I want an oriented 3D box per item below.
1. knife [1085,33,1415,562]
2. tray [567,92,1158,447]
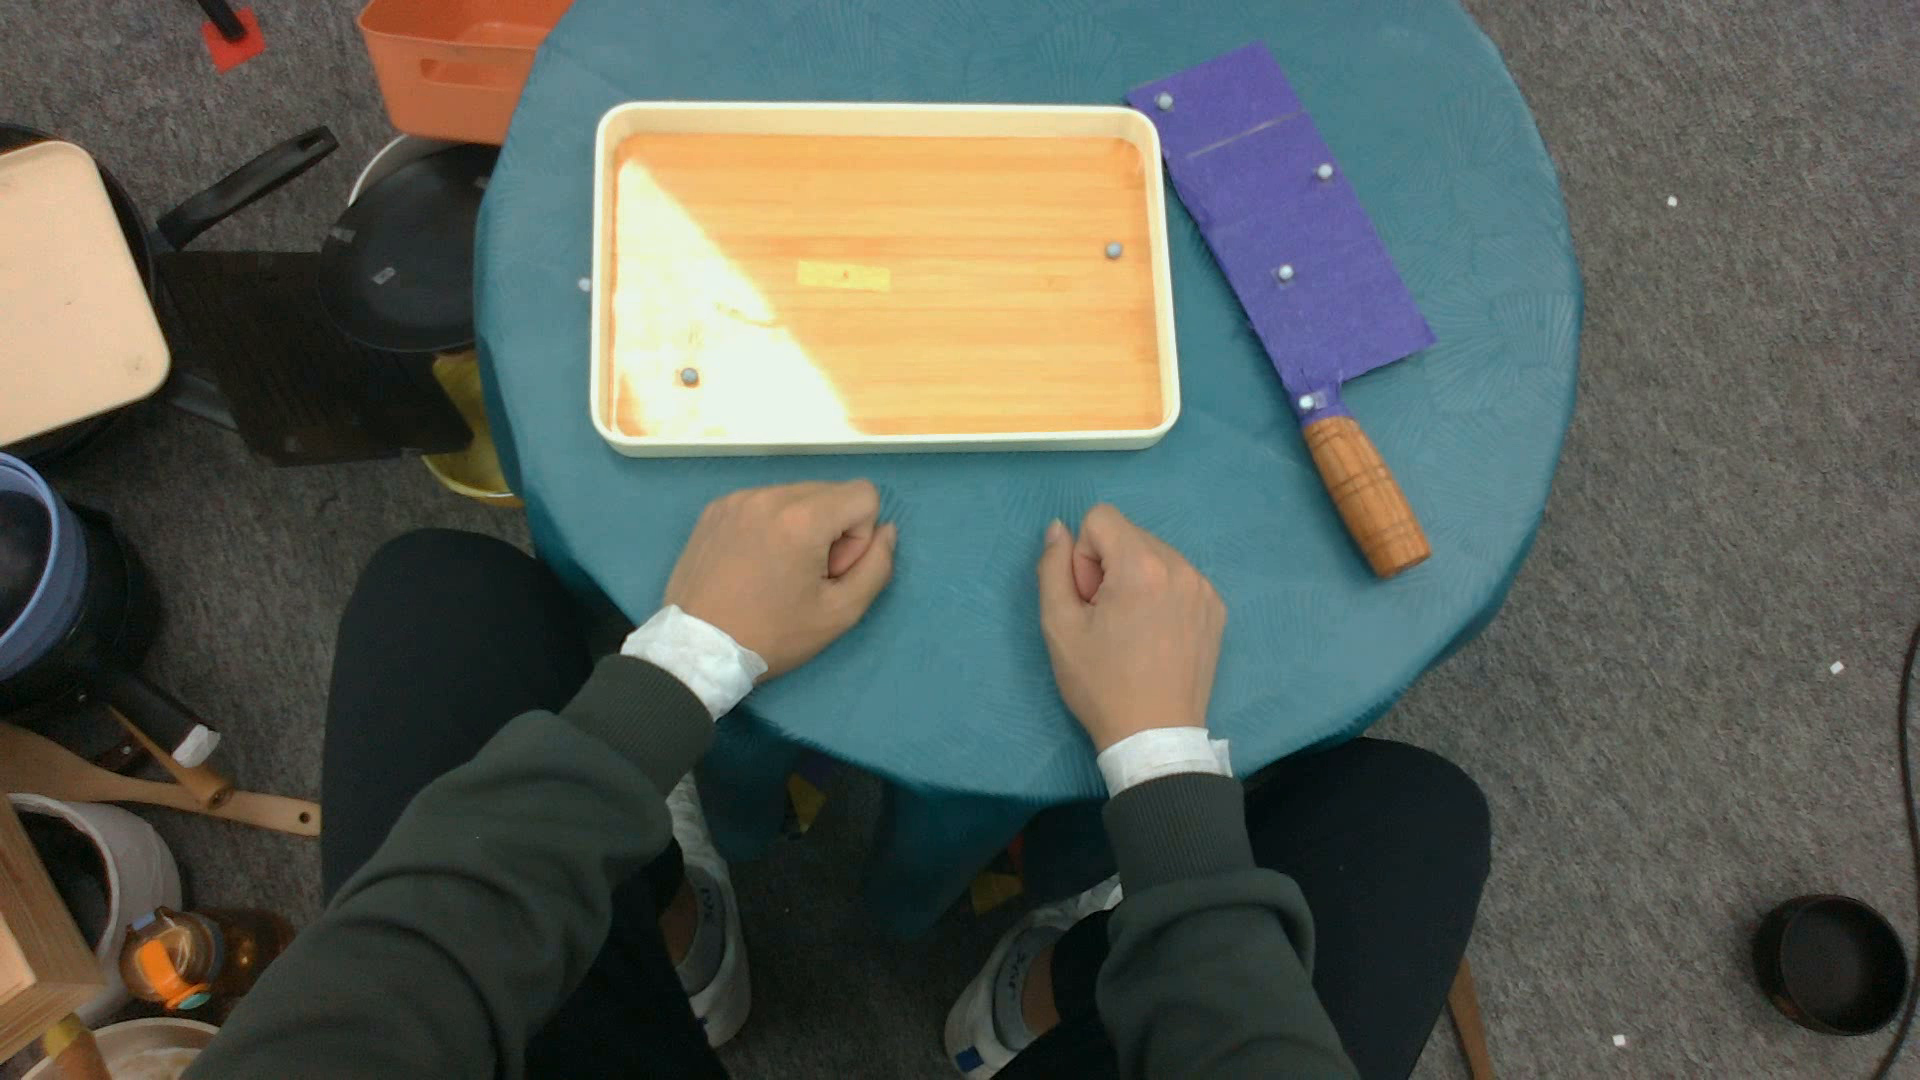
[{"bbox_3d":[0.182,-0.144,0.749,0.104,0.032,0.315,-24,78,-10],"label":"knife"},{"bbox_3d":[-0.051,-0.144,0.727,0.300,0.027,0.192,-1,76,-6],"label":"tray"}]
